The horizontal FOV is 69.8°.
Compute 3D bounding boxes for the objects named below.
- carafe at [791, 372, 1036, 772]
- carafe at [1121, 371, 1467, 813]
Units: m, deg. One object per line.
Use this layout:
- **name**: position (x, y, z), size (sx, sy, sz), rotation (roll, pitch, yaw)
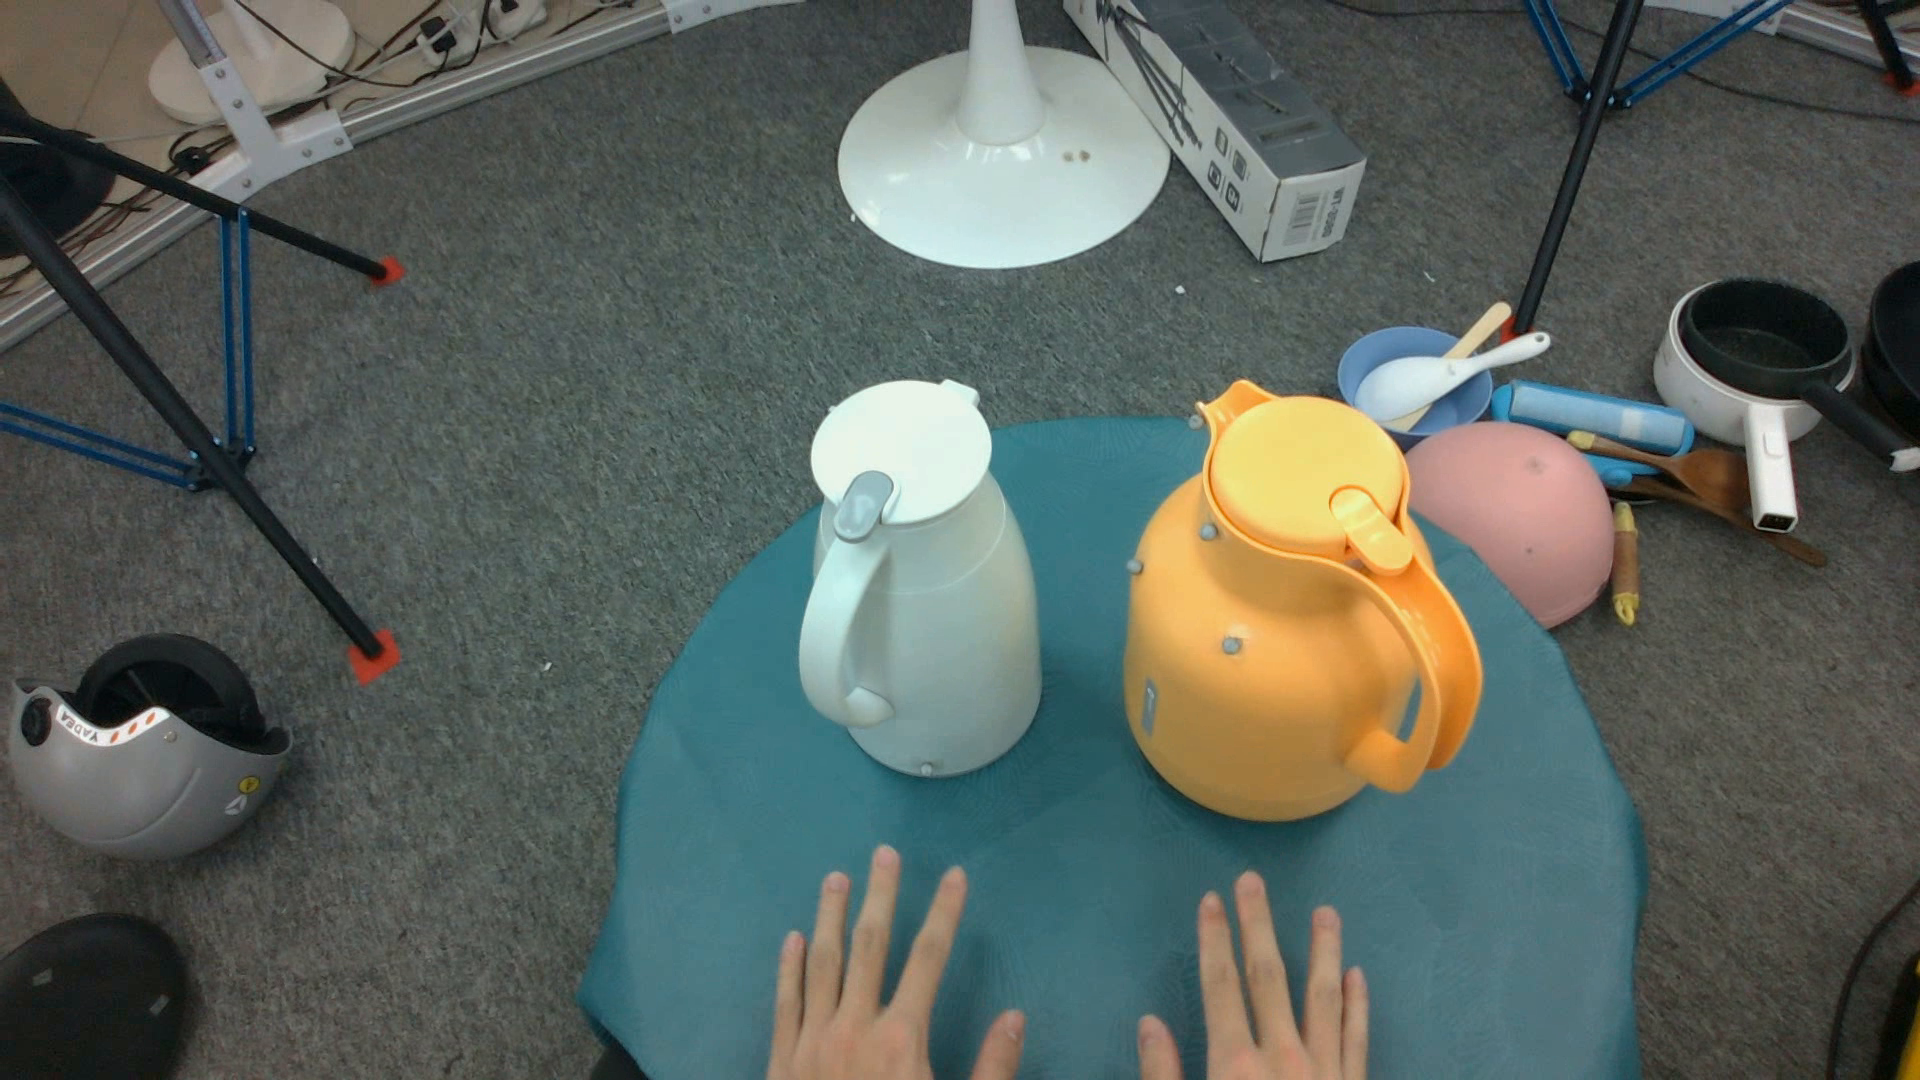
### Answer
- **carafe**: position (-0.034, 0.032, 0.772), size (0.132, 0.247, 0.168), rotation (21, 59, 18)
- **carafe**: position (0.178, 0.045, 0.741), size (0.164, 0.259, 0.203), rotation (-27, 56, -12)
